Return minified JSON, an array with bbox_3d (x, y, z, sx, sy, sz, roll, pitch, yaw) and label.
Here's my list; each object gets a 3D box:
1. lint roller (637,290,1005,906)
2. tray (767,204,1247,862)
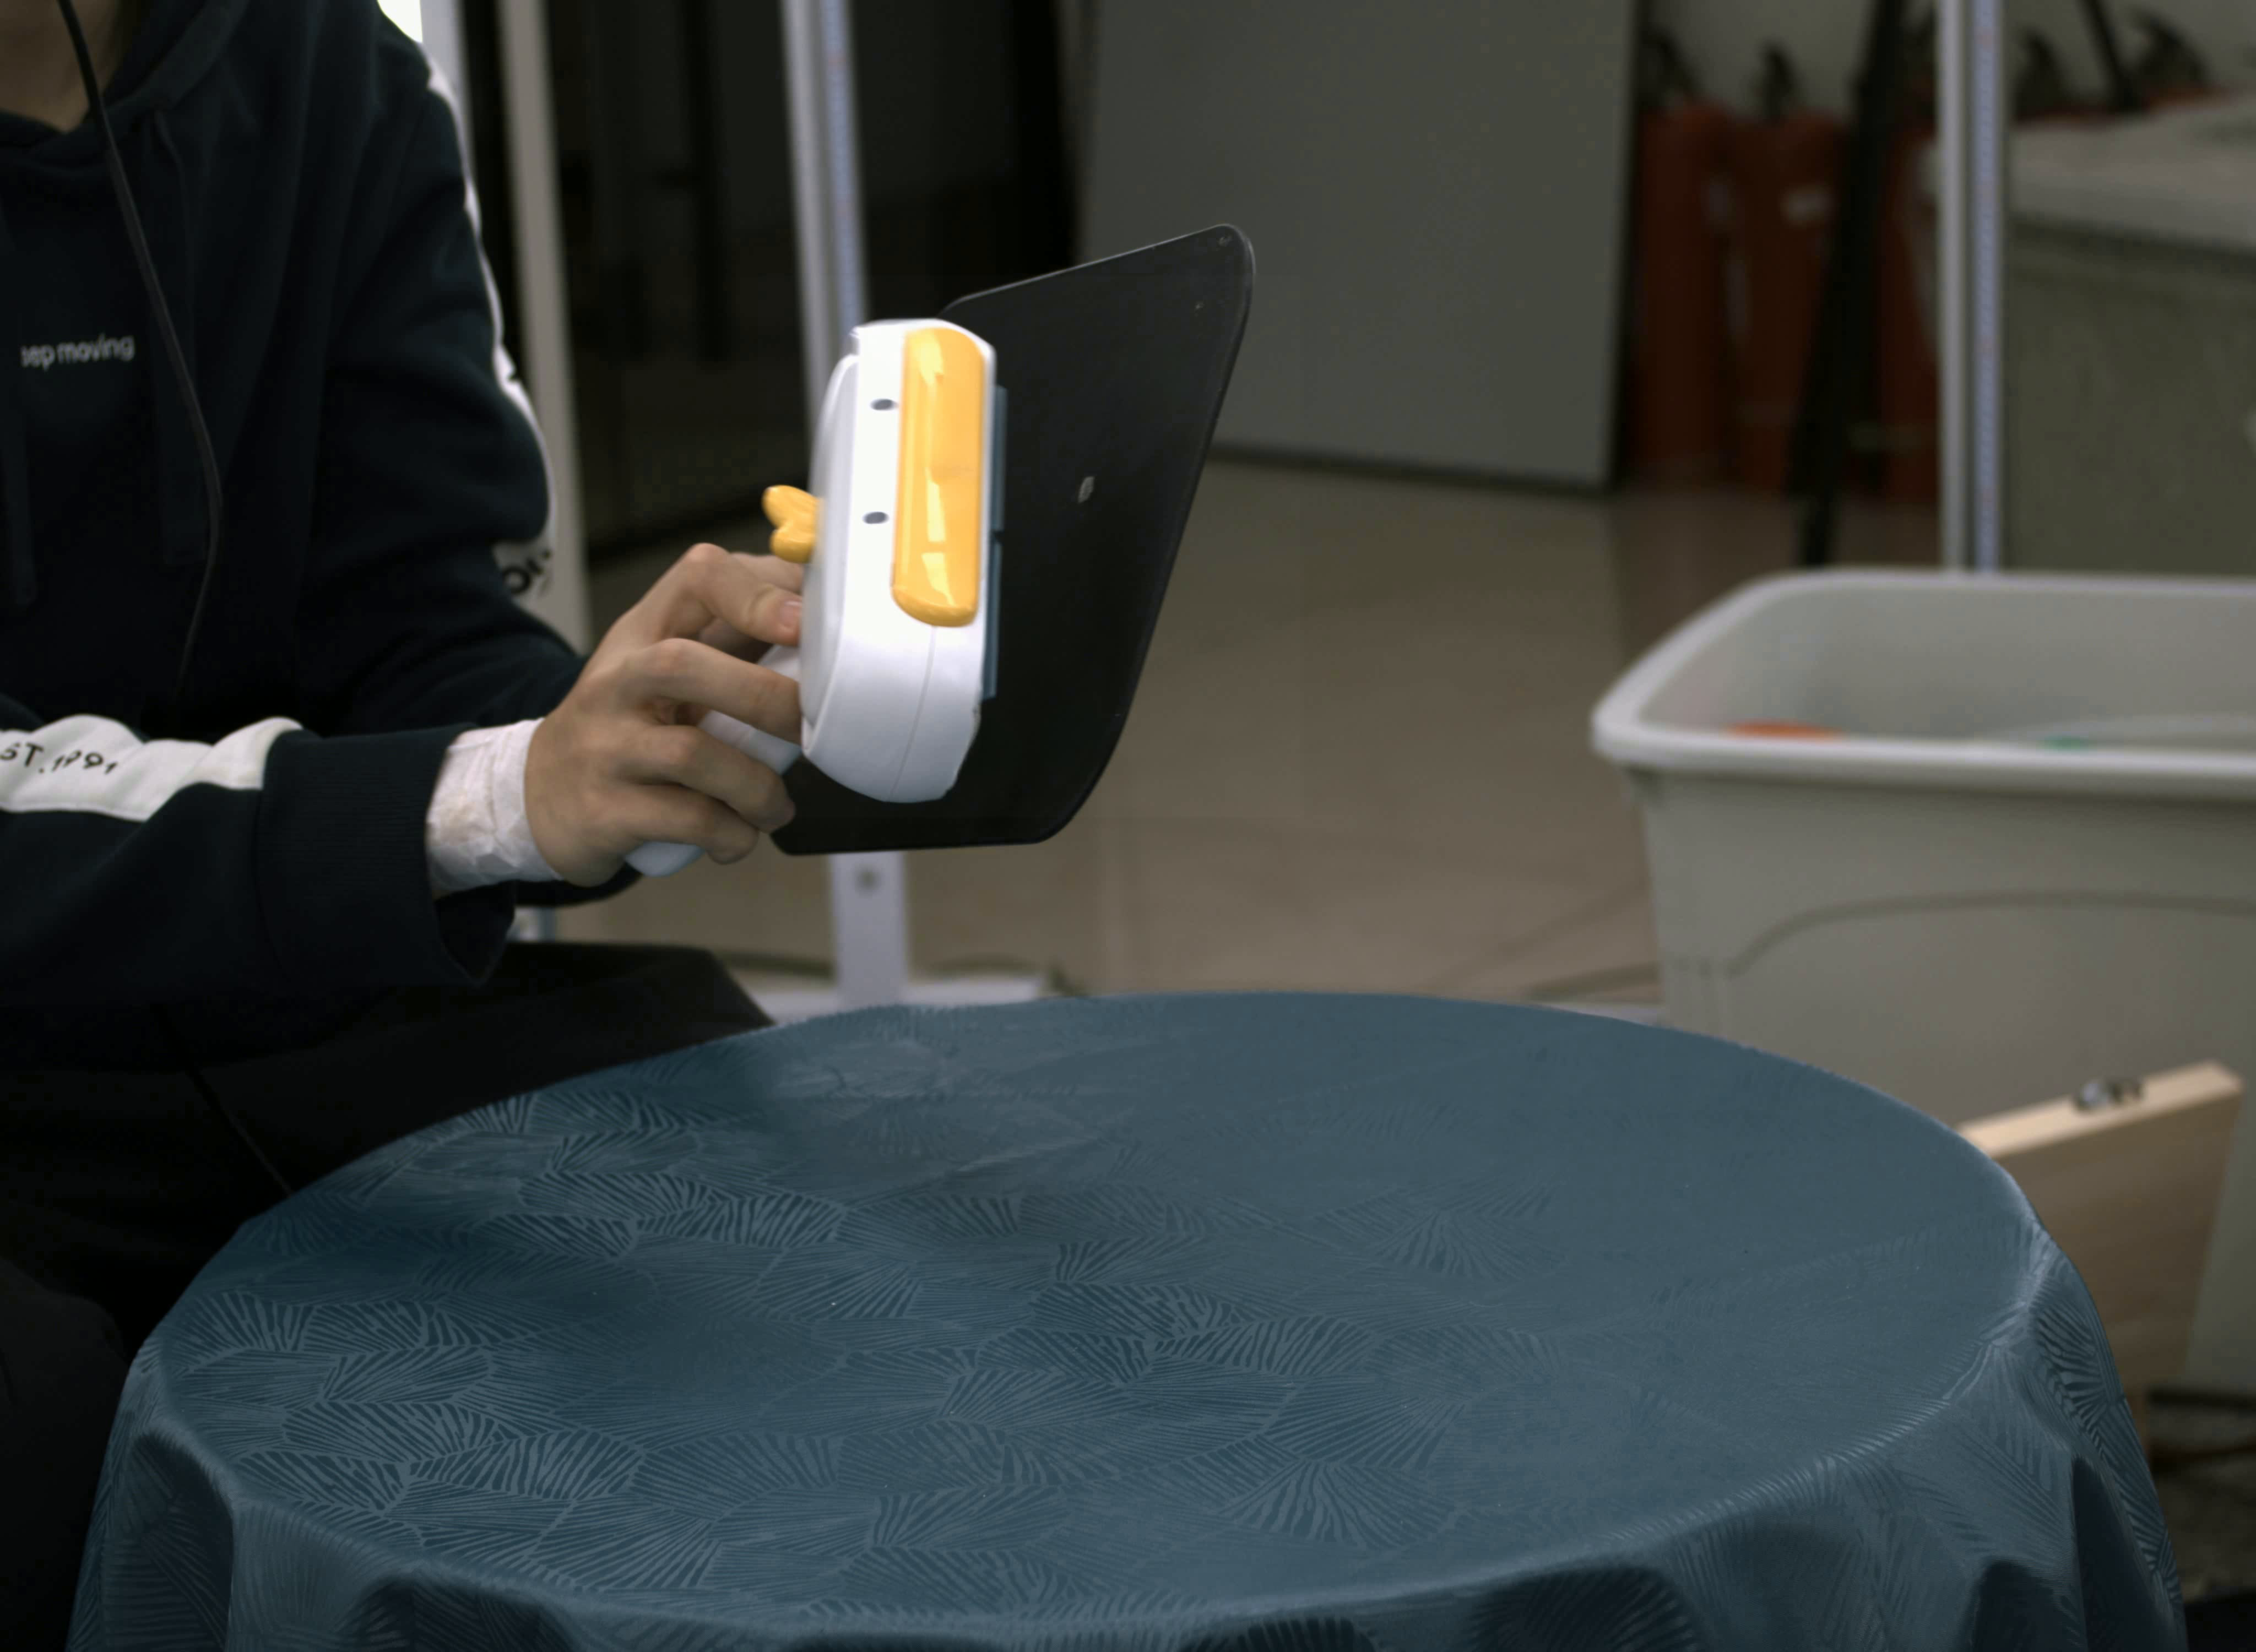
[{"bbox_3d":[-0.096,-0.051,1.703,0.073,0.194,0.194,15,34,-18],"label":"lint roller"},{"bbox_3d":[-0.048,-0.092,1.812,0.009,0.213,0.328,20,-10,-21],"label":"tray"}]
